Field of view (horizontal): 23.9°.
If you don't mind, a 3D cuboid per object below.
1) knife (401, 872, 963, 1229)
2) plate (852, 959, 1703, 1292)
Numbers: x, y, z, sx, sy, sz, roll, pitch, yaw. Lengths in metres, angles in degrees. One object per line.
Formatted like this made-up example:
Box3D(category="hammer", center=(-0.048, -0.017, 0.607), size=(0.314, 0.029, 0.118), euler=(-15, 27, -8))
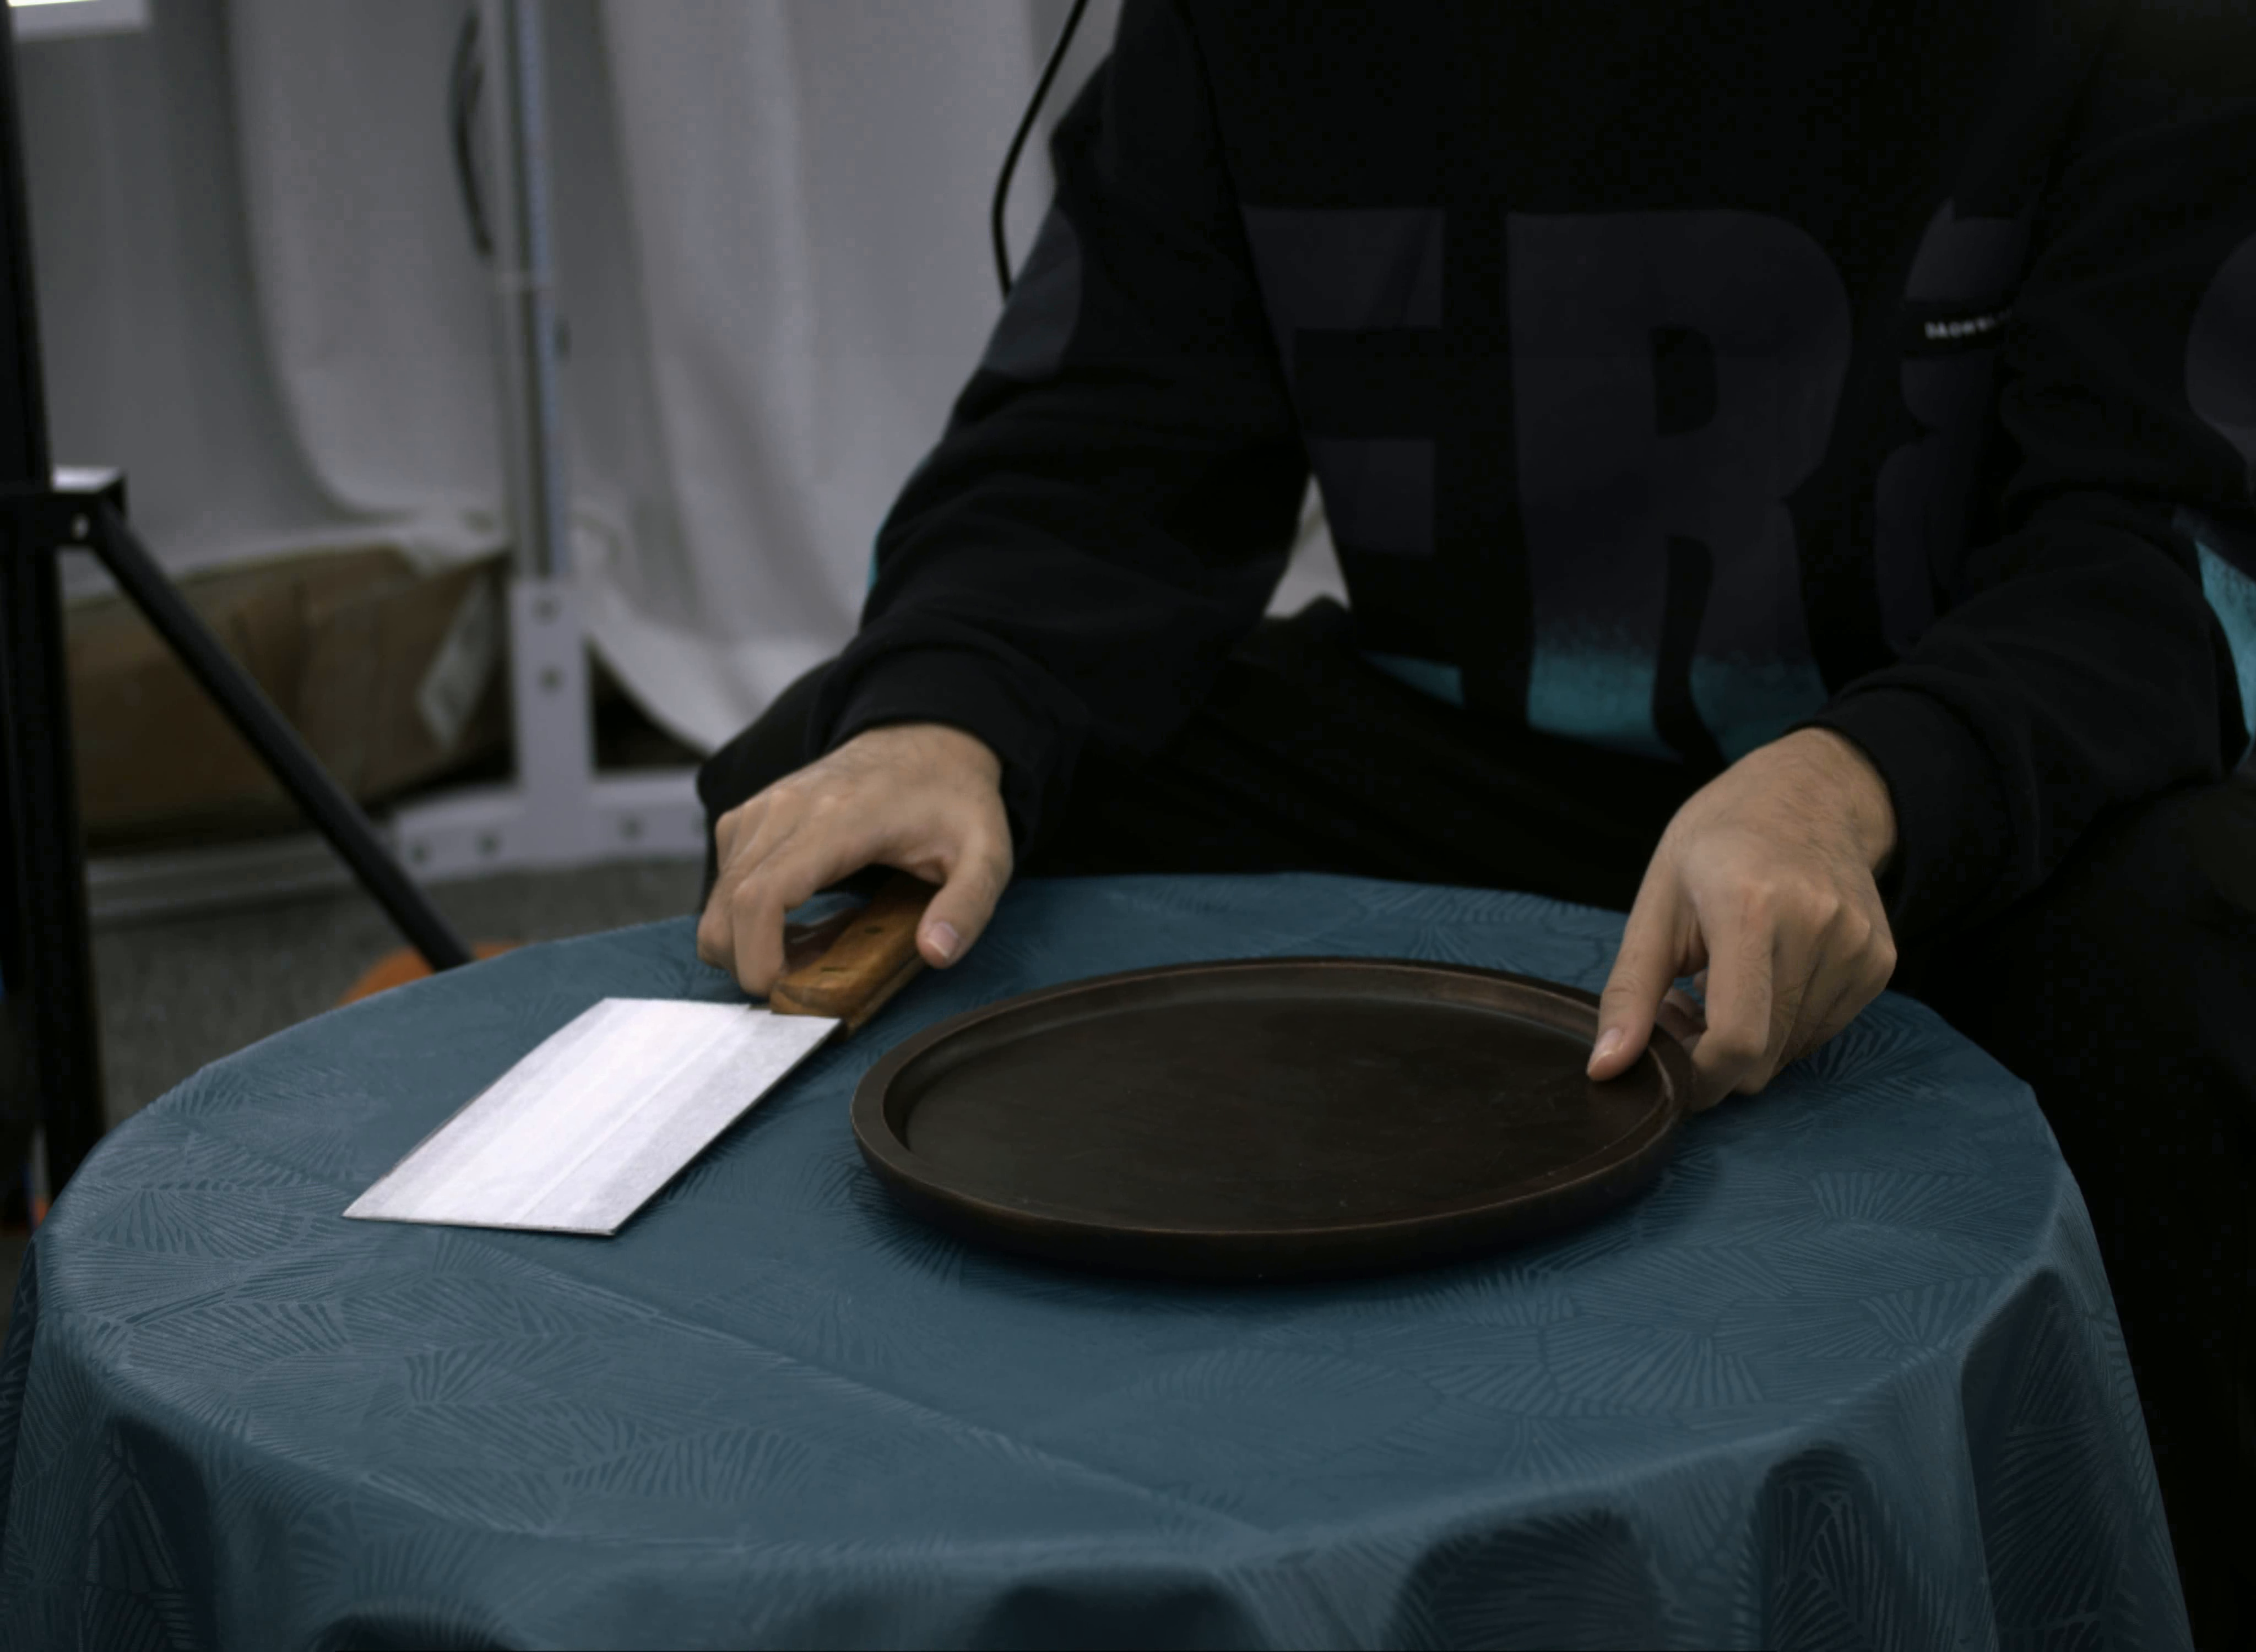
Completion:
Box3D(category="knife", center=(-0.140, 0.070, 1.690), size=(0.094, 0.021, 0.302), euler=(1, 18, 20))
Box3D(category="plate", center=(0.044, 0.086, 1.581), size=(0.253, 0.029, 0.256), euler=(-2, 17, -1))
